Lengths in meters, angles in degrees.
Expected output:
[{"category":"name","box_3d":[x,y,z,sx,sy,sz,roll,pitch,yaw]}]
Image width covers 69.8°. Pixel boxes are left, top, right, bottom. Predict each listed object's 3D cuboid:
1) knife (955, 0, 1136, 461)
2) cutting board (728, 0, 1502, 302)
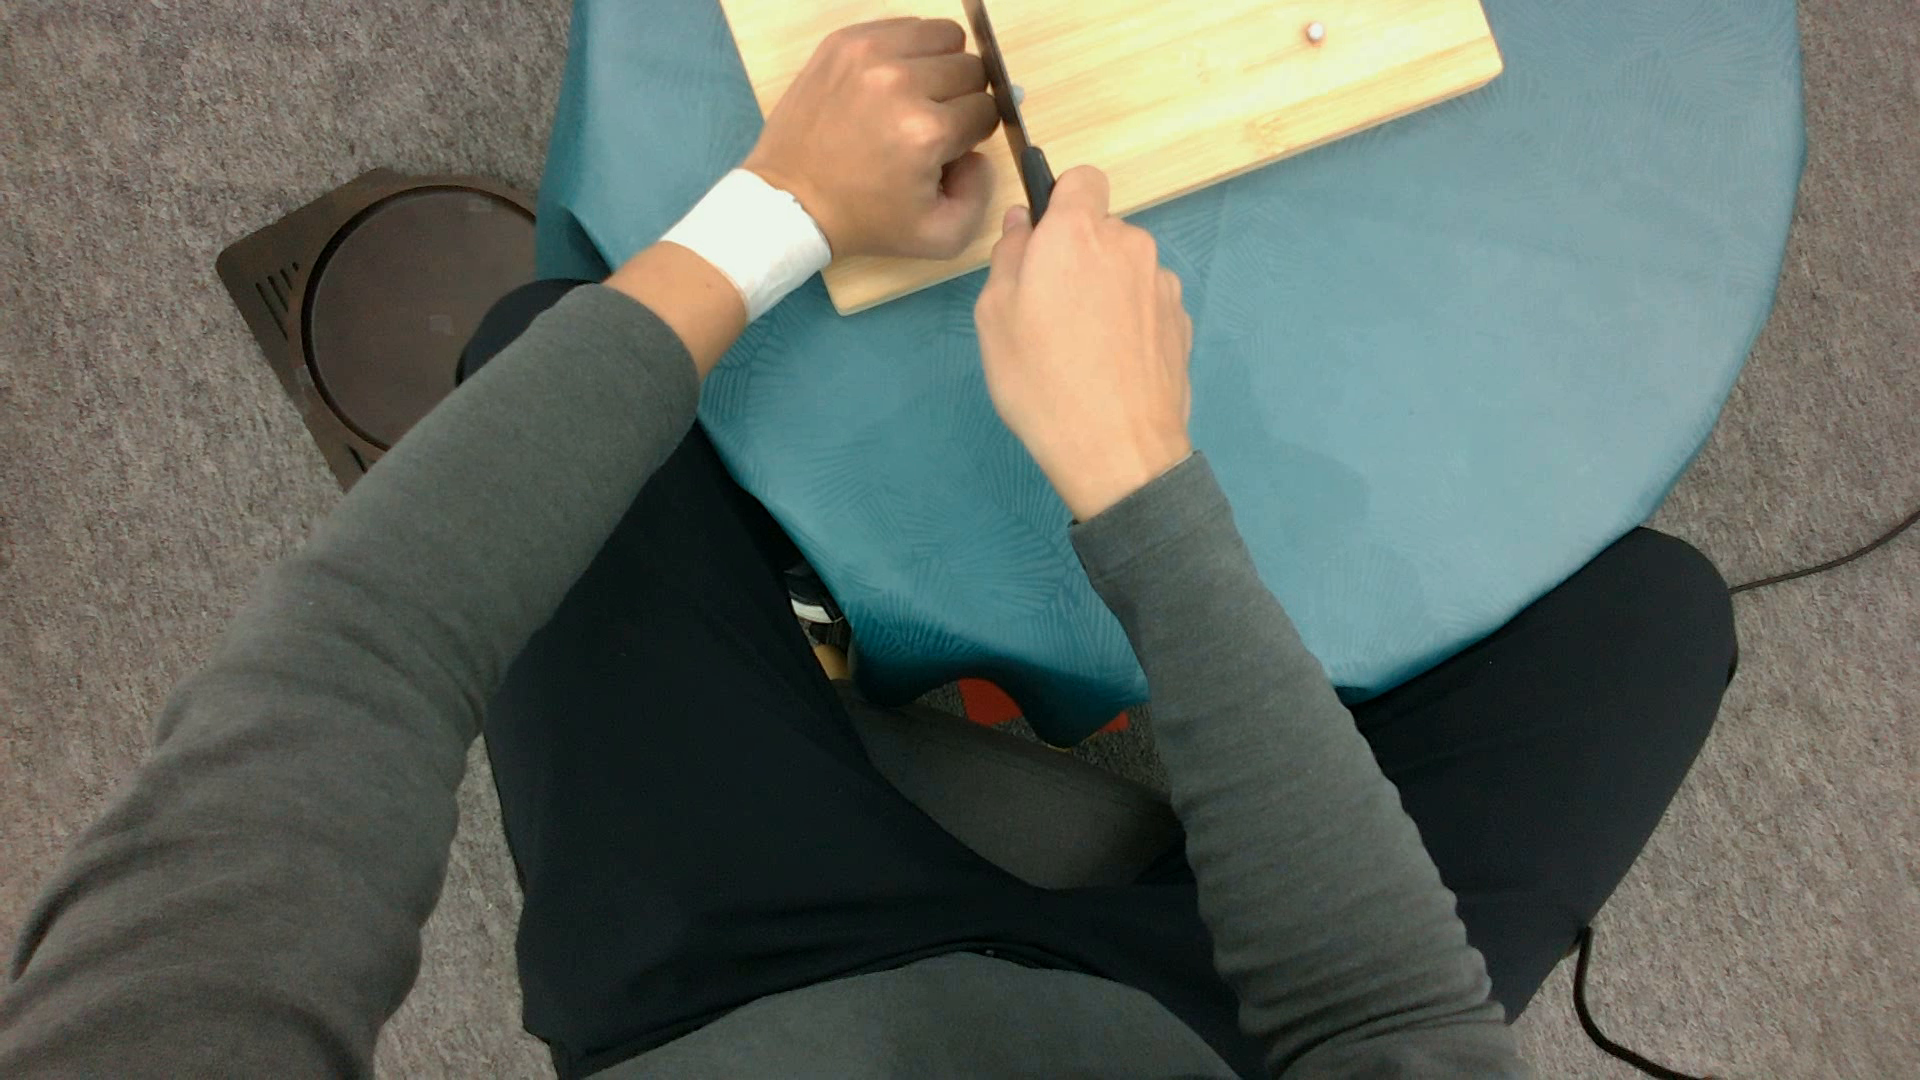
[{"category":"knife","box_3d":[0.017,-0.178,0.571,0.021,0.081,0.302,-18,87,1]},{"category":"cutting board","box_3d":[0.059,-0.283,0.660,0.349,0.023,0.250,-21,90,-5]}]
